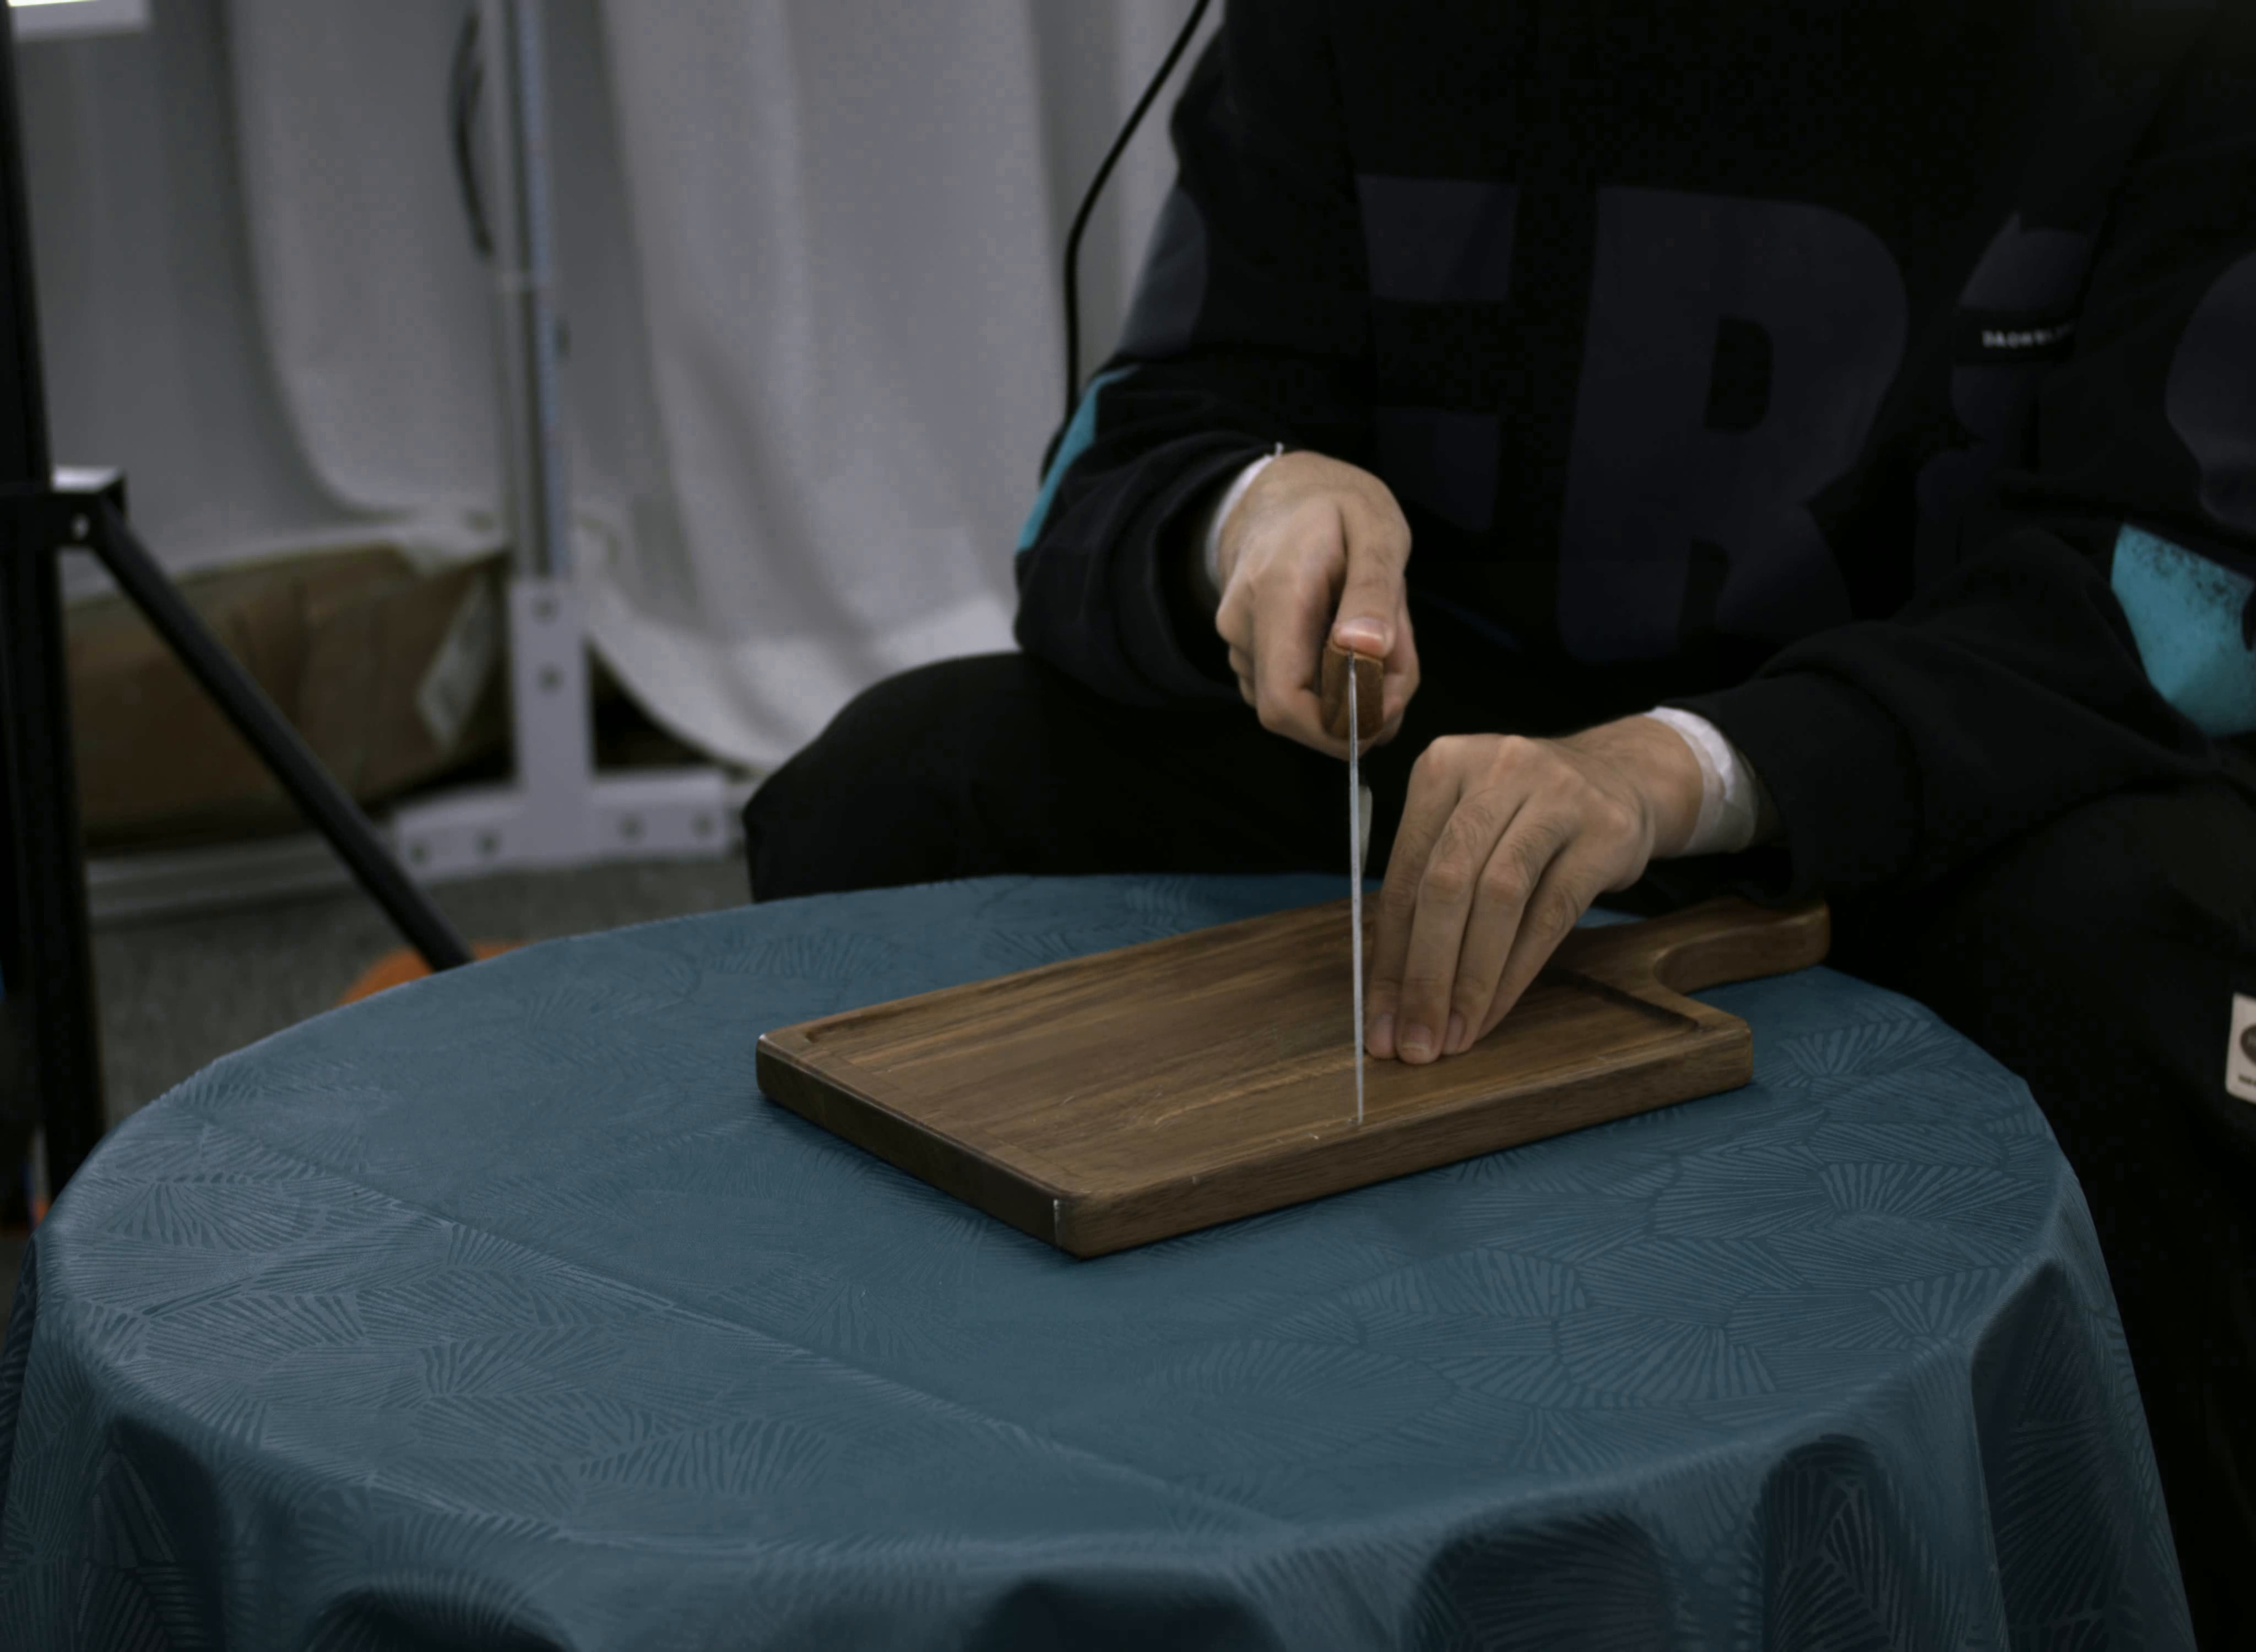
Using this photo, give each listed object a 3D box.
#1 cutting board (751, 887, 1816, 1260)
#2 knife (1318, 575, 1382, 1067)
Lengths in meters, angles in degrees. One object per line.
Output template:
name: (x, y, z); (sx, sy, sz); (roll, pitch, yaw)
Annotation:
cutting board: (0.078, 0.064, 1.662); (0.344, 0.023, 0.205); (-12, 19, -30)
knife: (0.071, -0.003, 1.672); (0.021, 0.093, 0.306); (-1, 18, 2)
